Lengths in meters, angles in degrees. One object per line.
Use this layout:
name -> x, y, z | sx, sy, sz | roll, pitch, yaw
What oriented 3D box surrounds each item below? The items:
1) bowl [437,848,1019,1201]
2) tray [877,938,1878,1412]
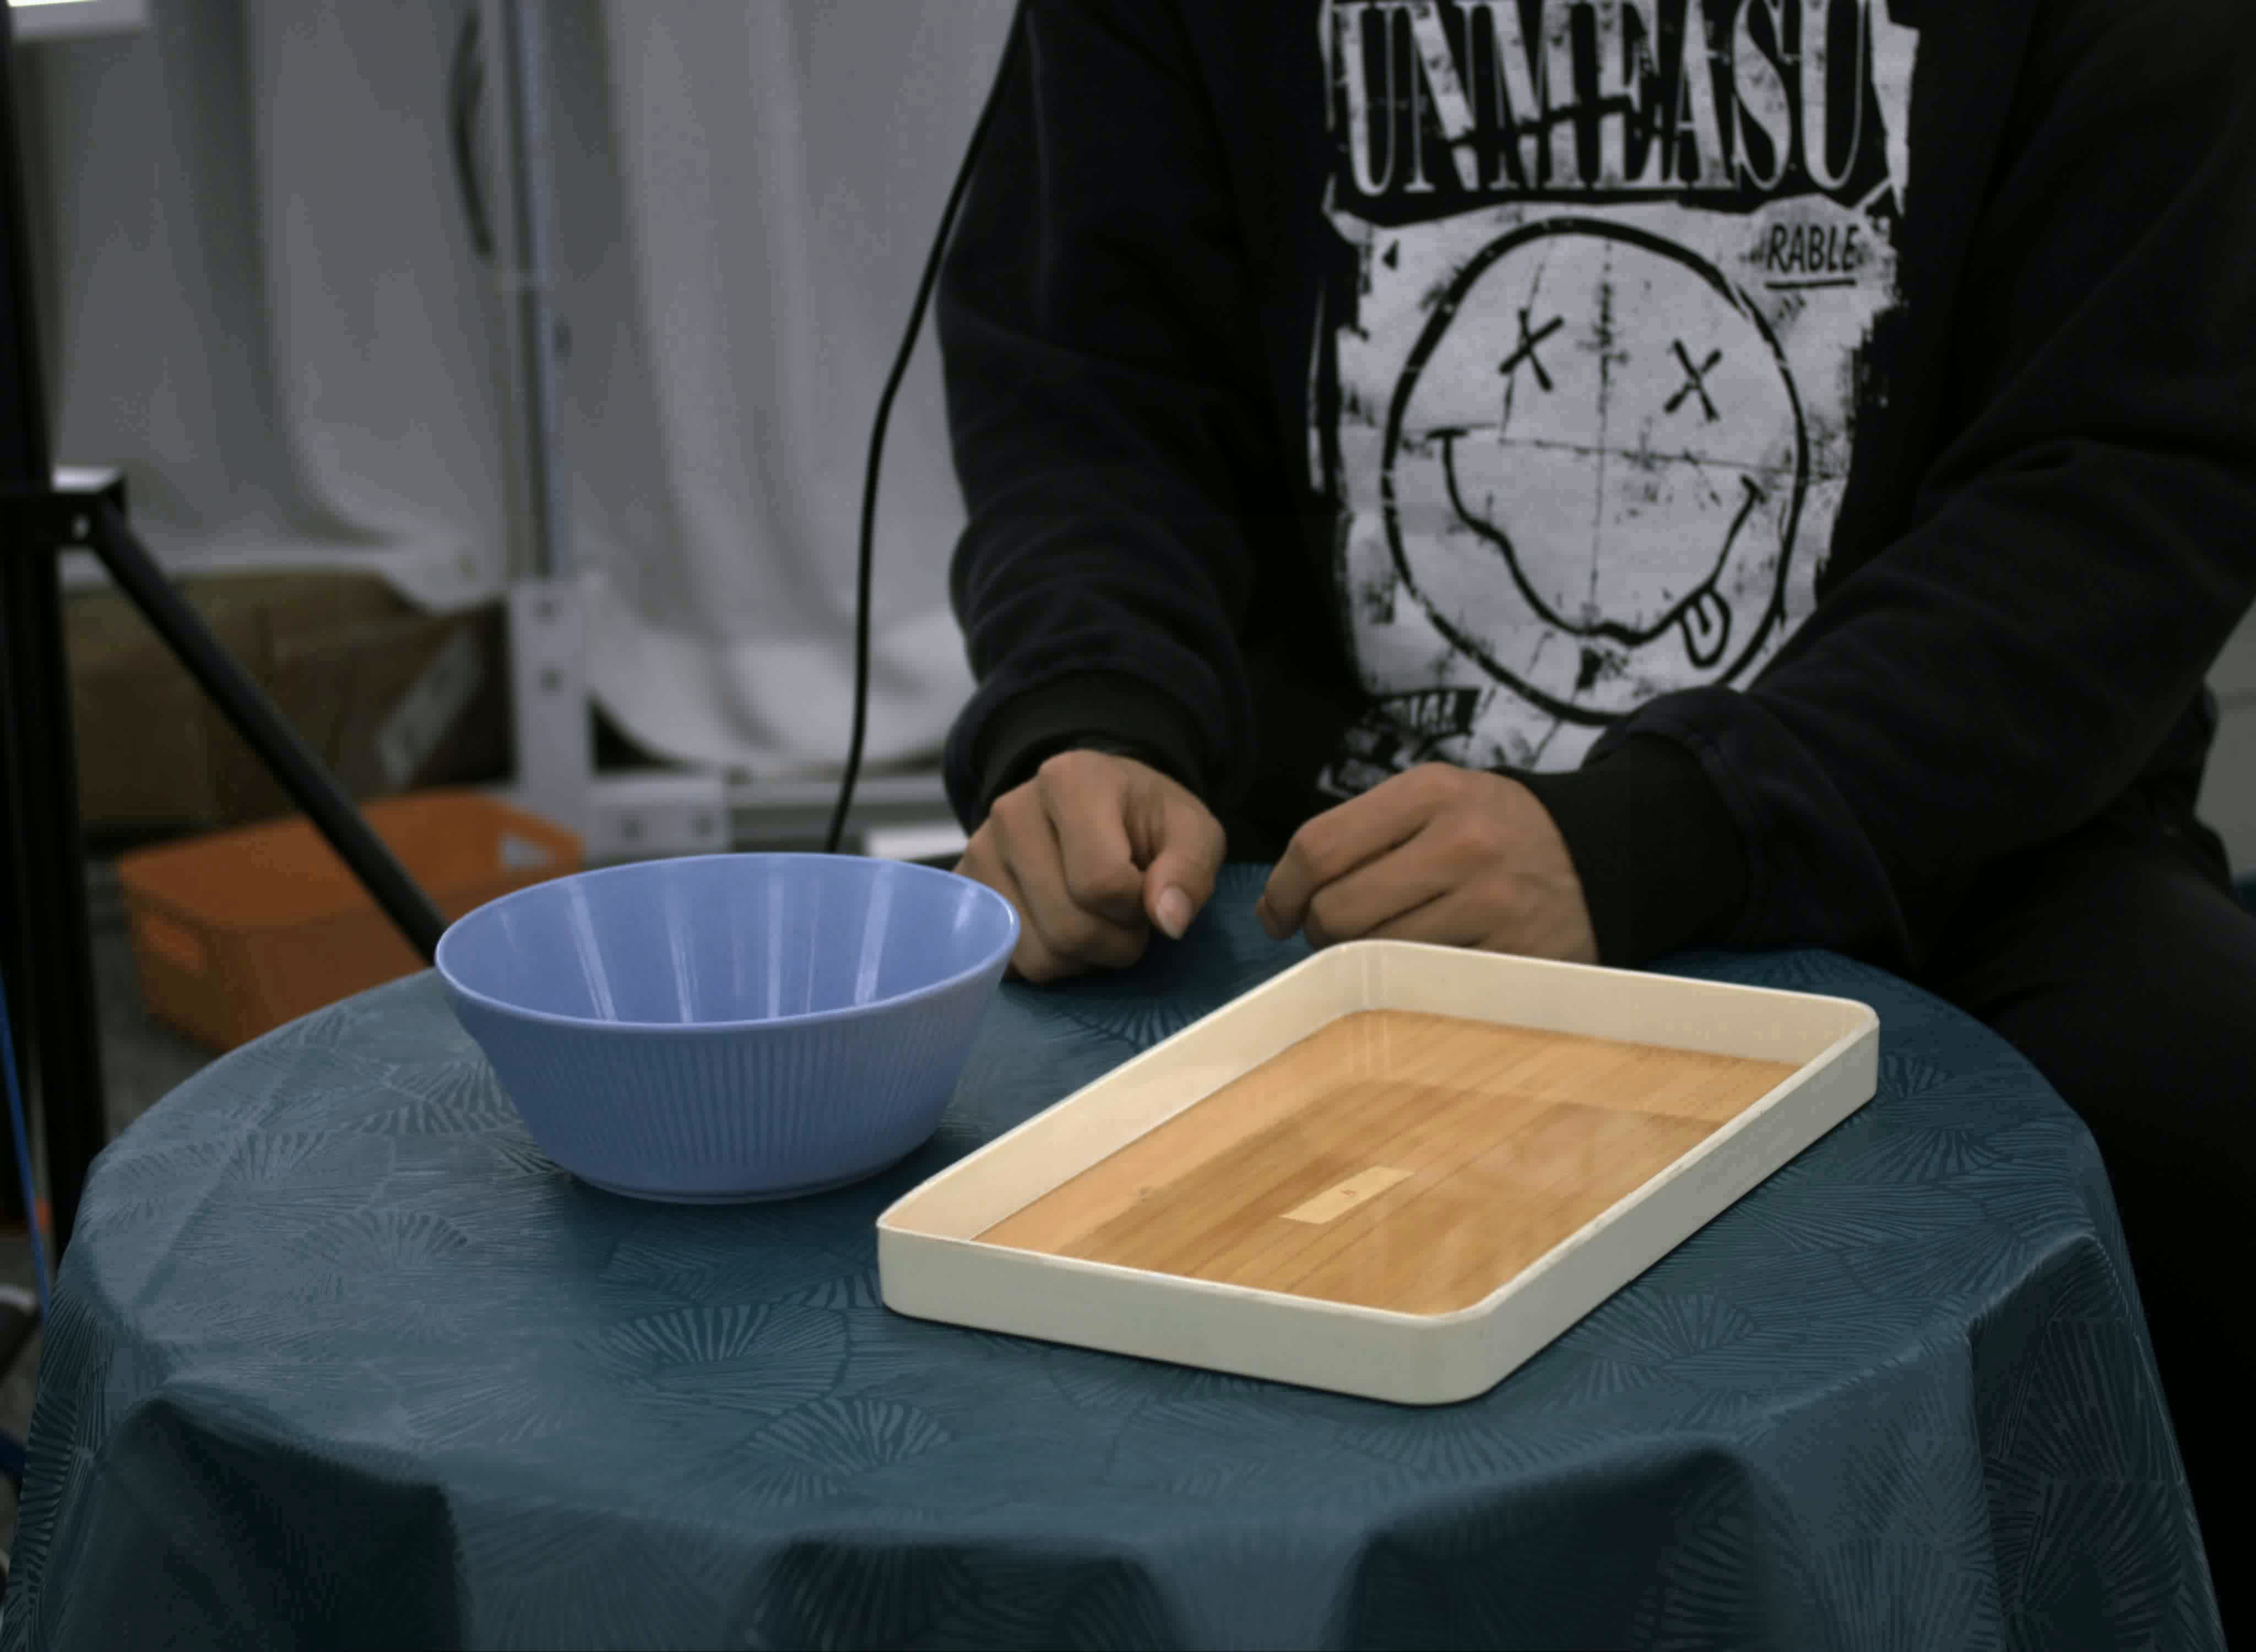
bowl -> -0.119, 0.062, 1.608 | 0.175, 0.070, 0.177 | -2, 17, -1
tray -> 0.079, 0.096, 1.540 | 0.195, 0.027, 0.295 | 7, 19, 30
